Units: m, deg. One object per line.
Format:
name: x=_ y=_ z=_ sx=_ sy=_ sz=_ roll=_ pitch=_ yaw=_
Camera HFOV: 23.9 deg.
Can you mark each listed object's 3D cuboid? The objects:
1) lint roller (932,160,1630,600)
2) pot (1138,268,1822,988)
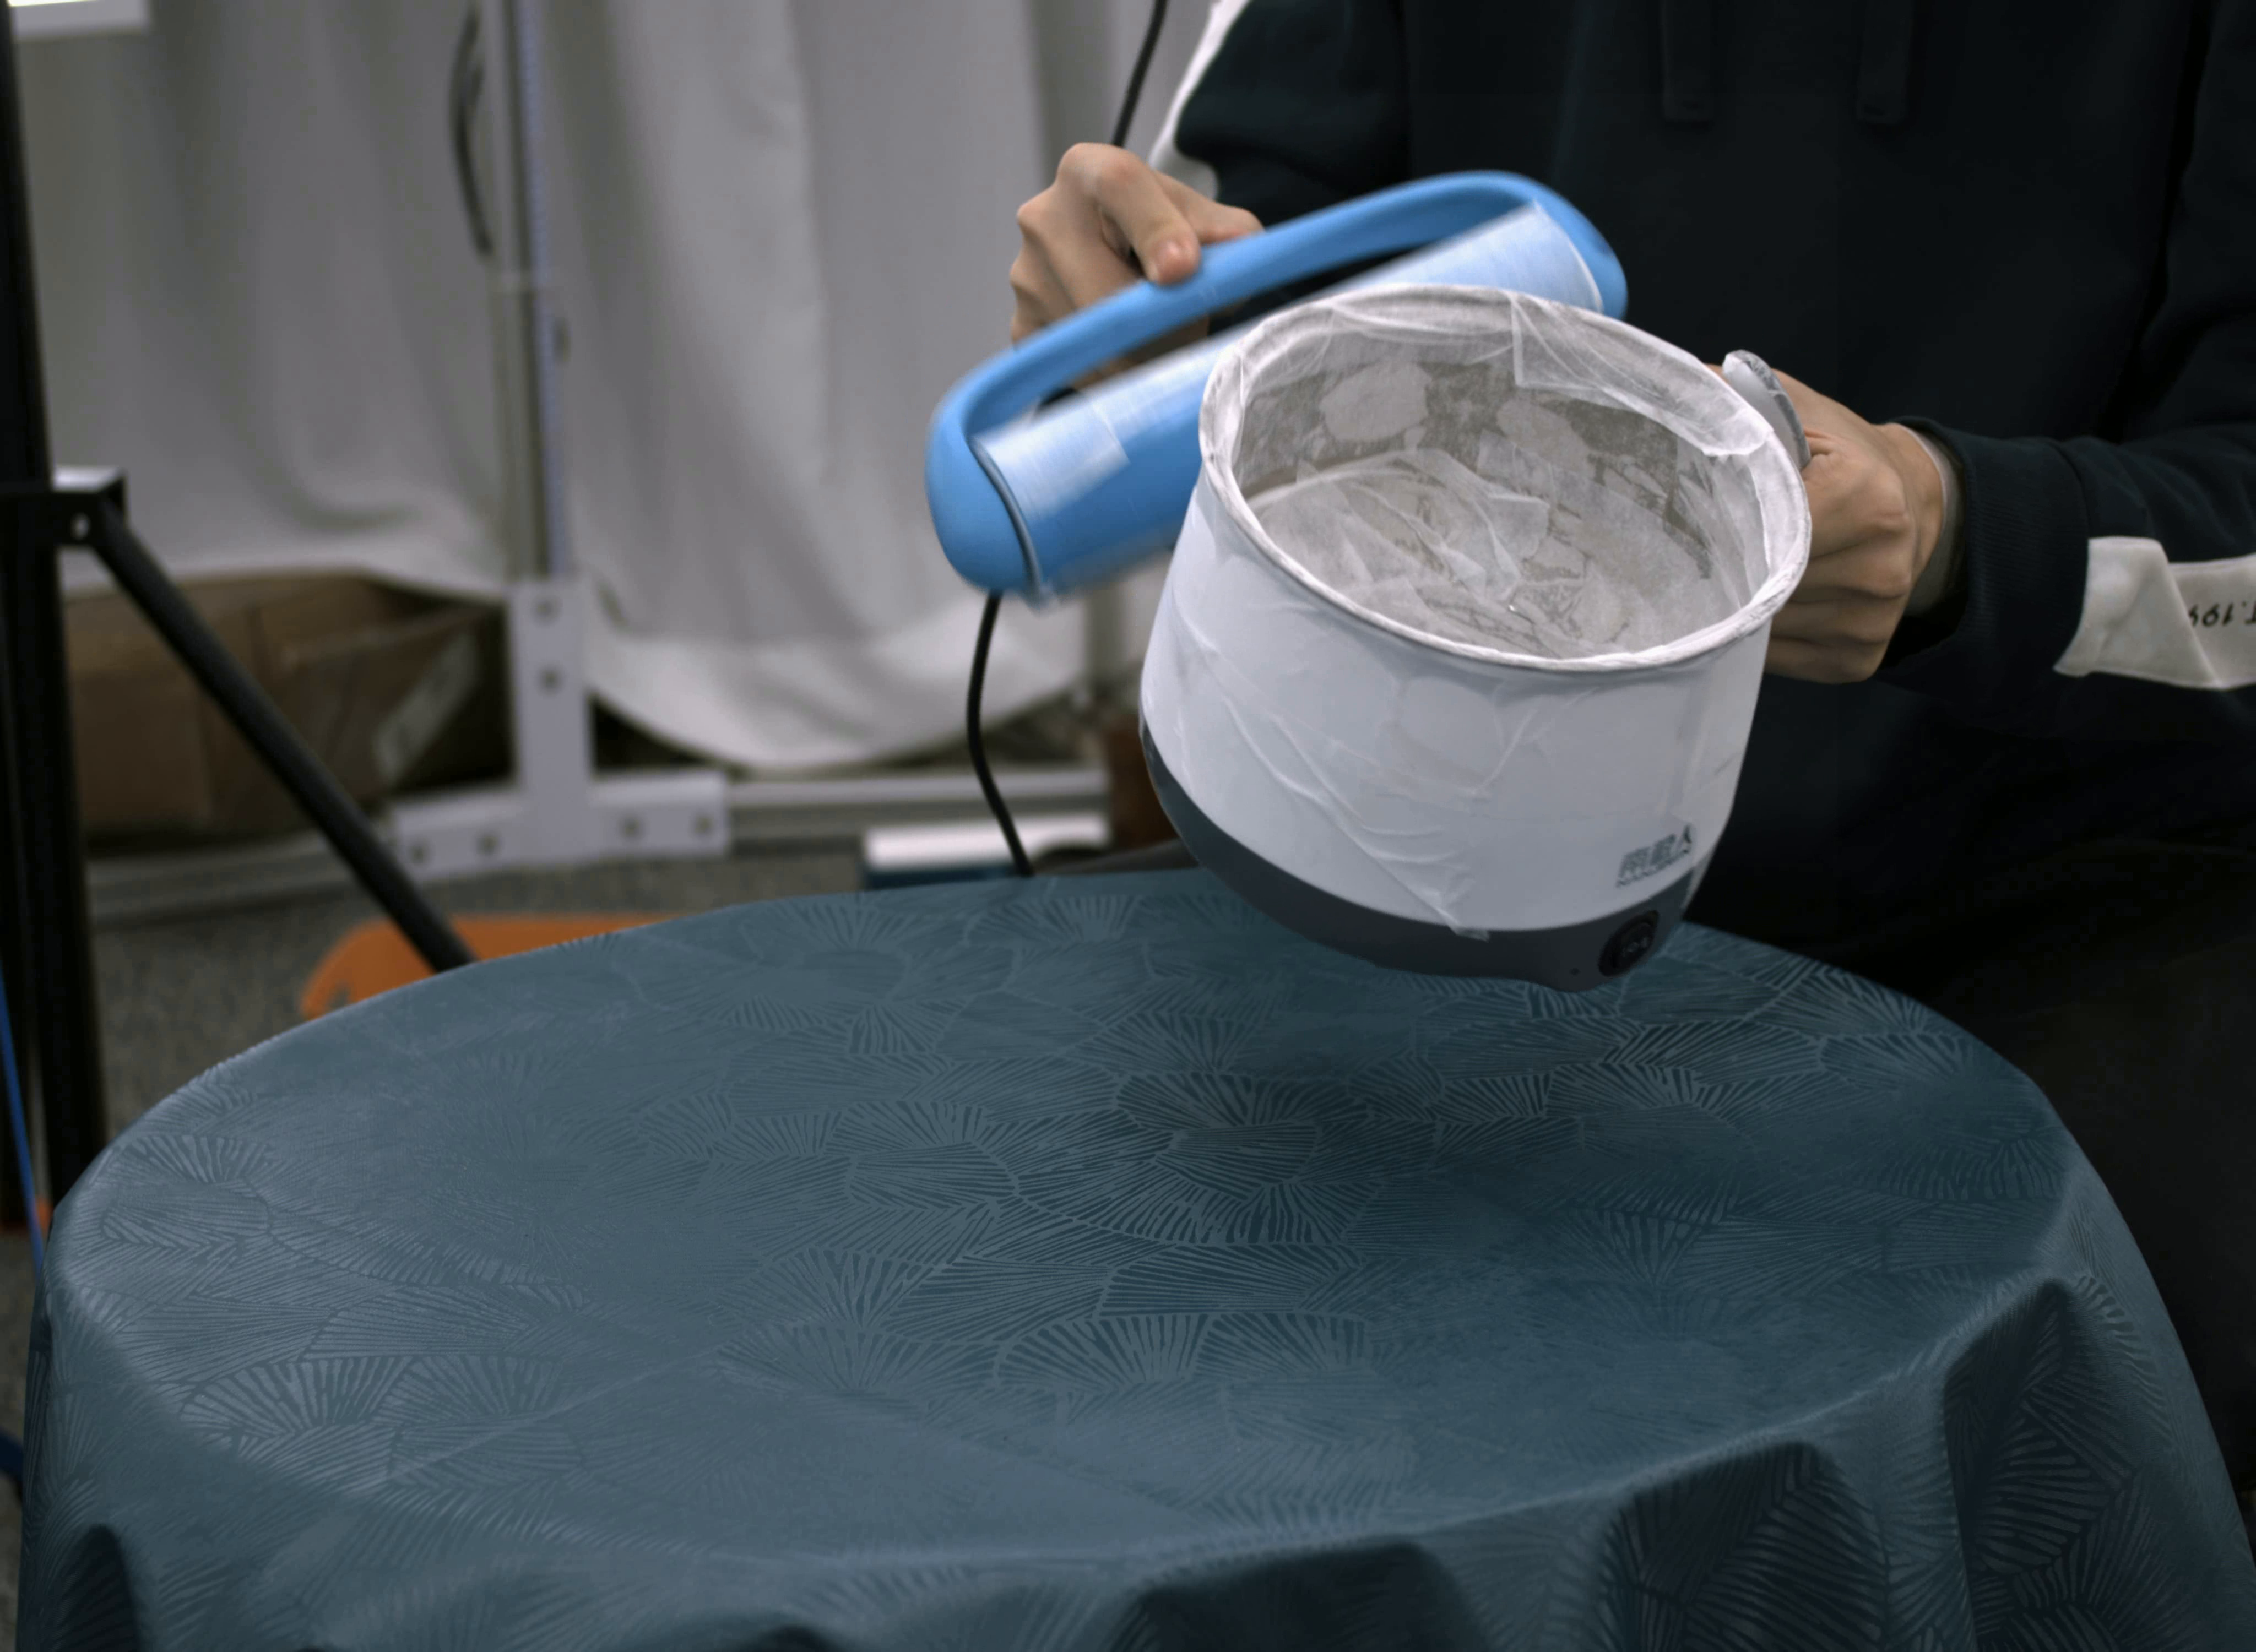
lint roller: x=0.025 y=-0.146 z=1.650 sx=0.226 sy=0.067 sz=0.184 roll=-27 pitch=24 yaw=-14
pot: x=0.116 y=-0.065 z=1.543 sx=0.229 sy=0.136 sz=0.182 roll=-24 pitch=52 yaw=-34
